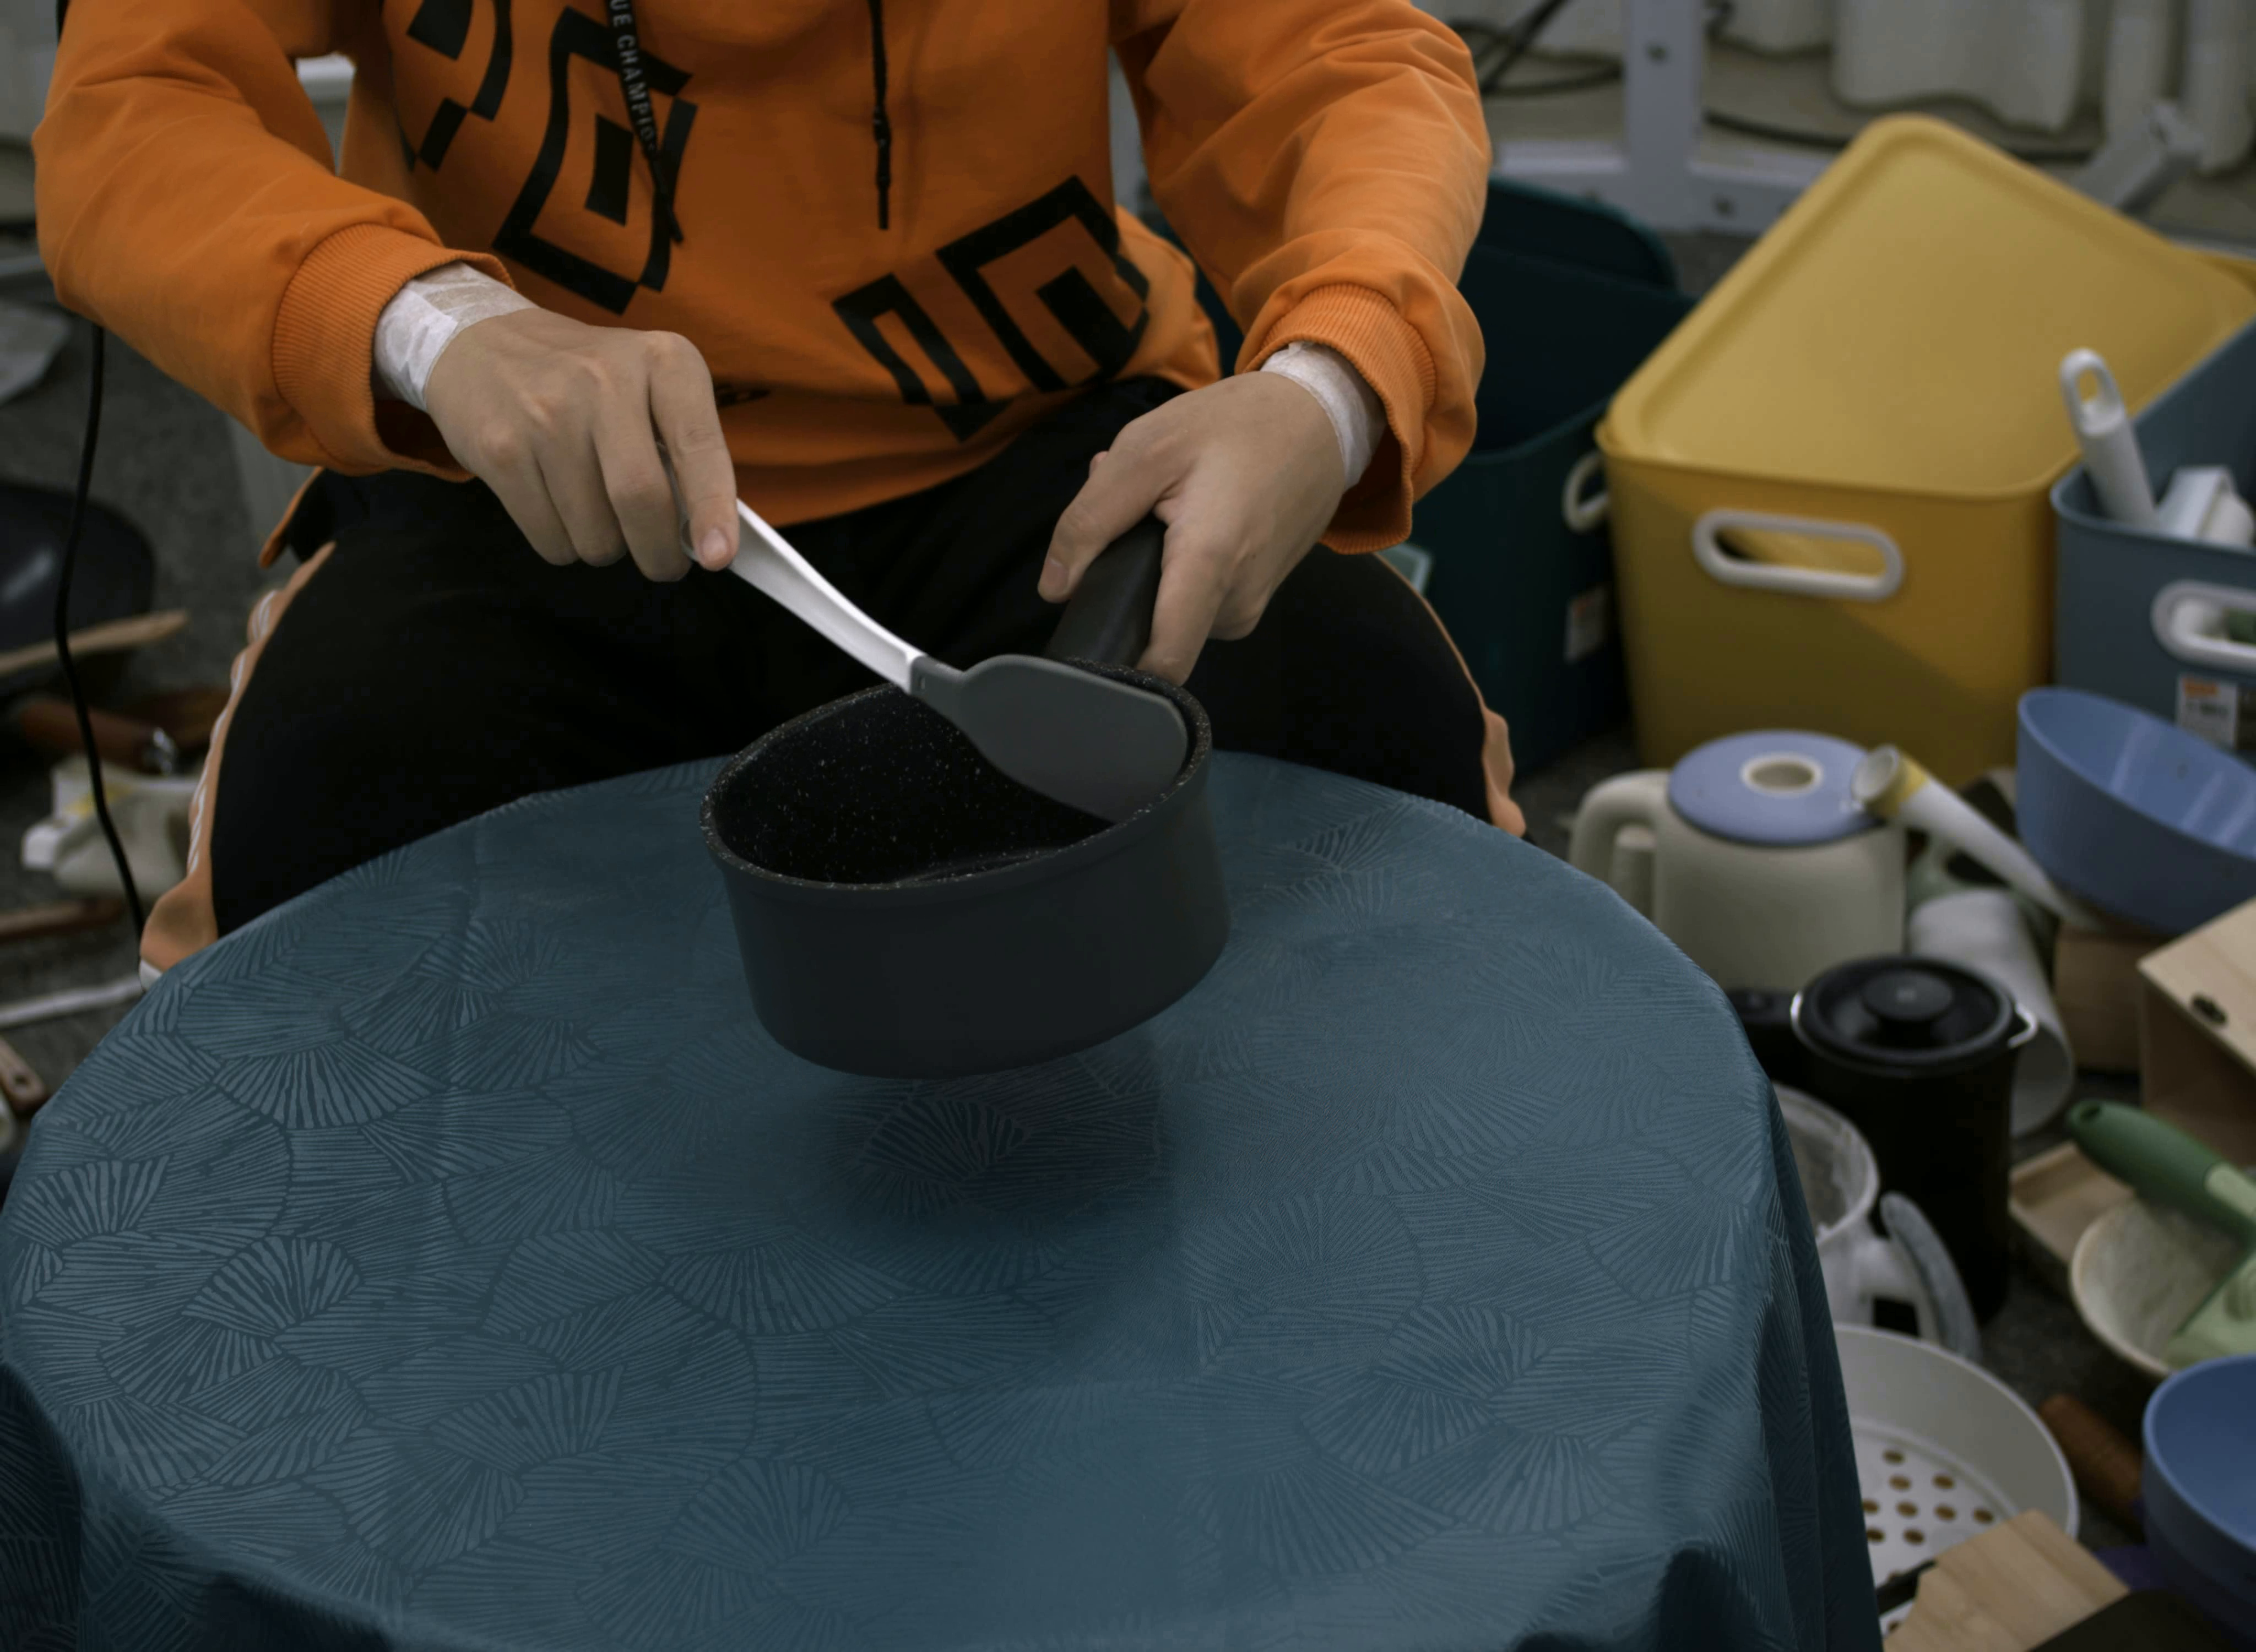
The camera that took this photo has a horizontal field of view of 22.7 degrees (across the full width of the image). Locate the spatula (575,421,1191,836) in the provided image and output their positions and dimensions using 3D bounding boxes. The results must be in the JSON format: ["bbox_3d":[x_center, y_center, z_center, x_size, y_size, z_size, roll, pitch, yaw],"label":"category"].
[{"bbox_3d":[-0.085,-0.069,1.891,0.032,0.058,0.288,-19,37,-41],"label":"spatula"}]

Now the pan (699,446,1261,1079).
[{"bbox_3d":[-0.023,-0.025,1.923,0.170,0.085,0.334,2,28,23],"label":"pan"}]
